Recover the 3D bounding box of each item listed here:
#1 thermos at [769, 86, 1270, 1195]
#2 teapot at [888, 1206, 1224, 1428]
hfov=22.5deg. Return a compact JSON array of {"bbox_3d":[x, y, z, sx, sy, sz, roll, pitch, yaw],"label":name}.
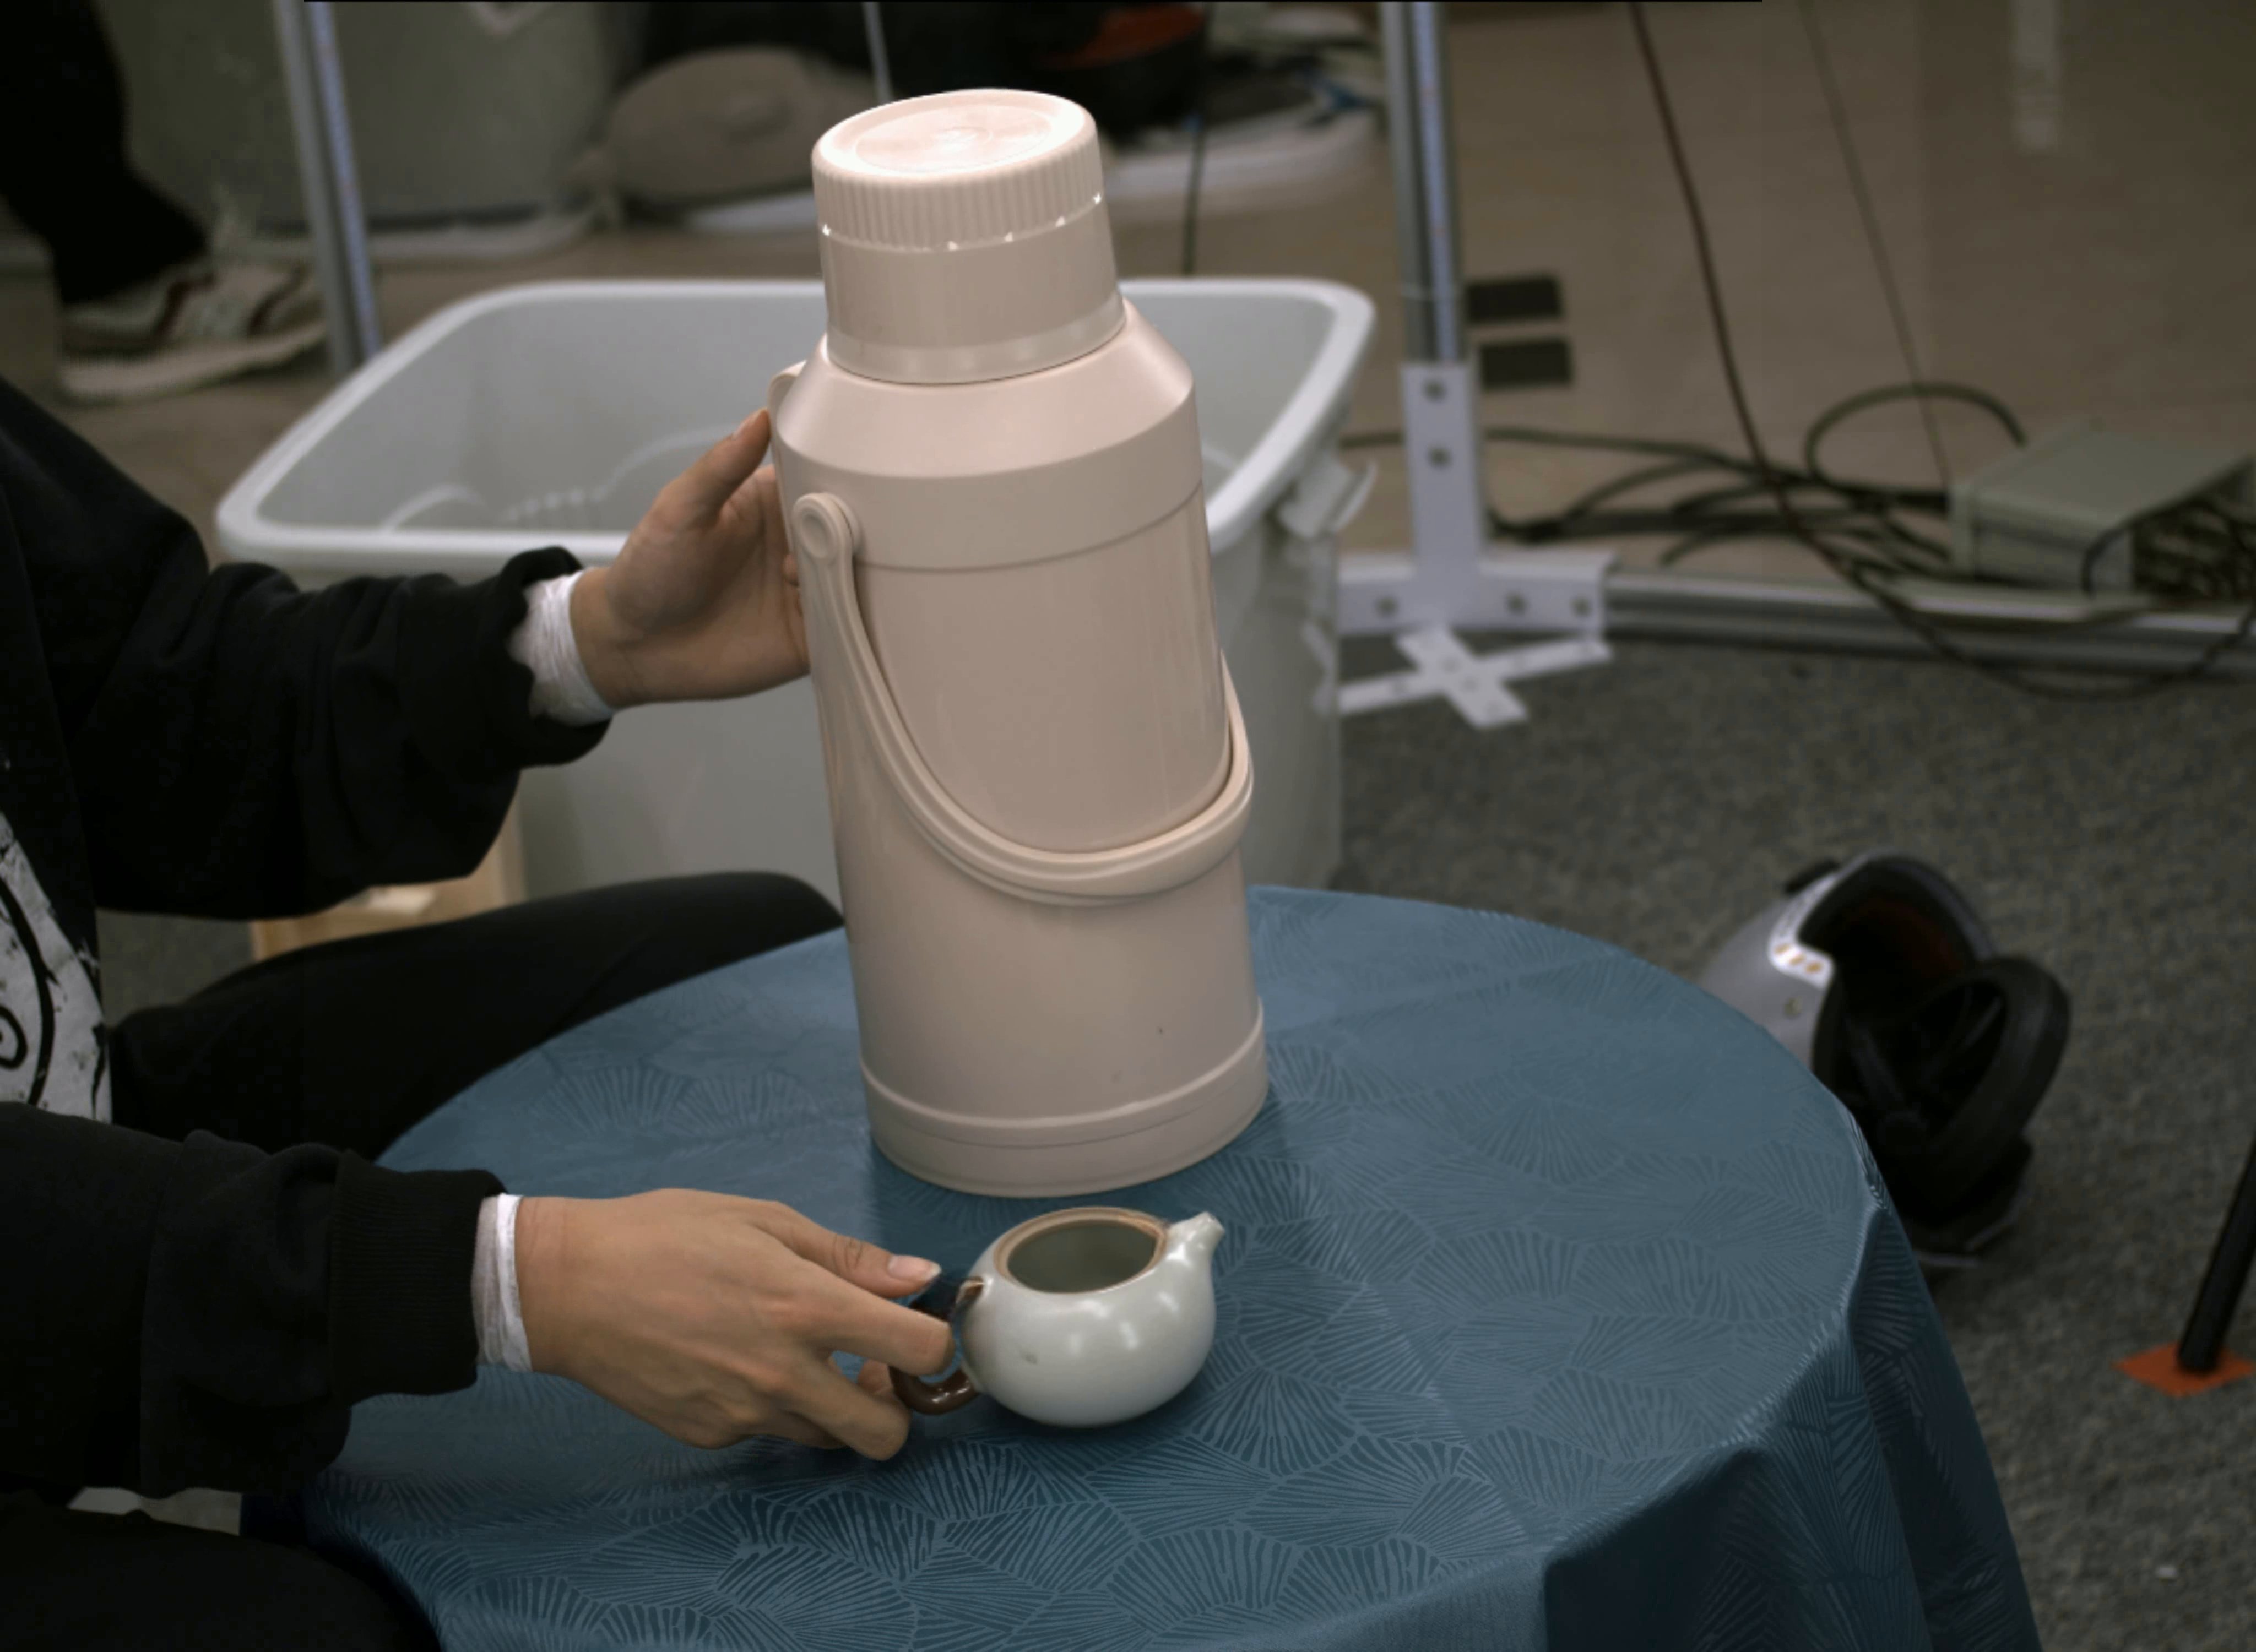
[{"bbox_3d":[-0.051,-0.075,2.144,0.174,0.413,0.205,-29,35,-36],"label":"thermos"},{"bbox_3d":[-0.024,0.176,2.006,0.127,0.060,0.090,-13,29,-17],"label":"teapot"}]
